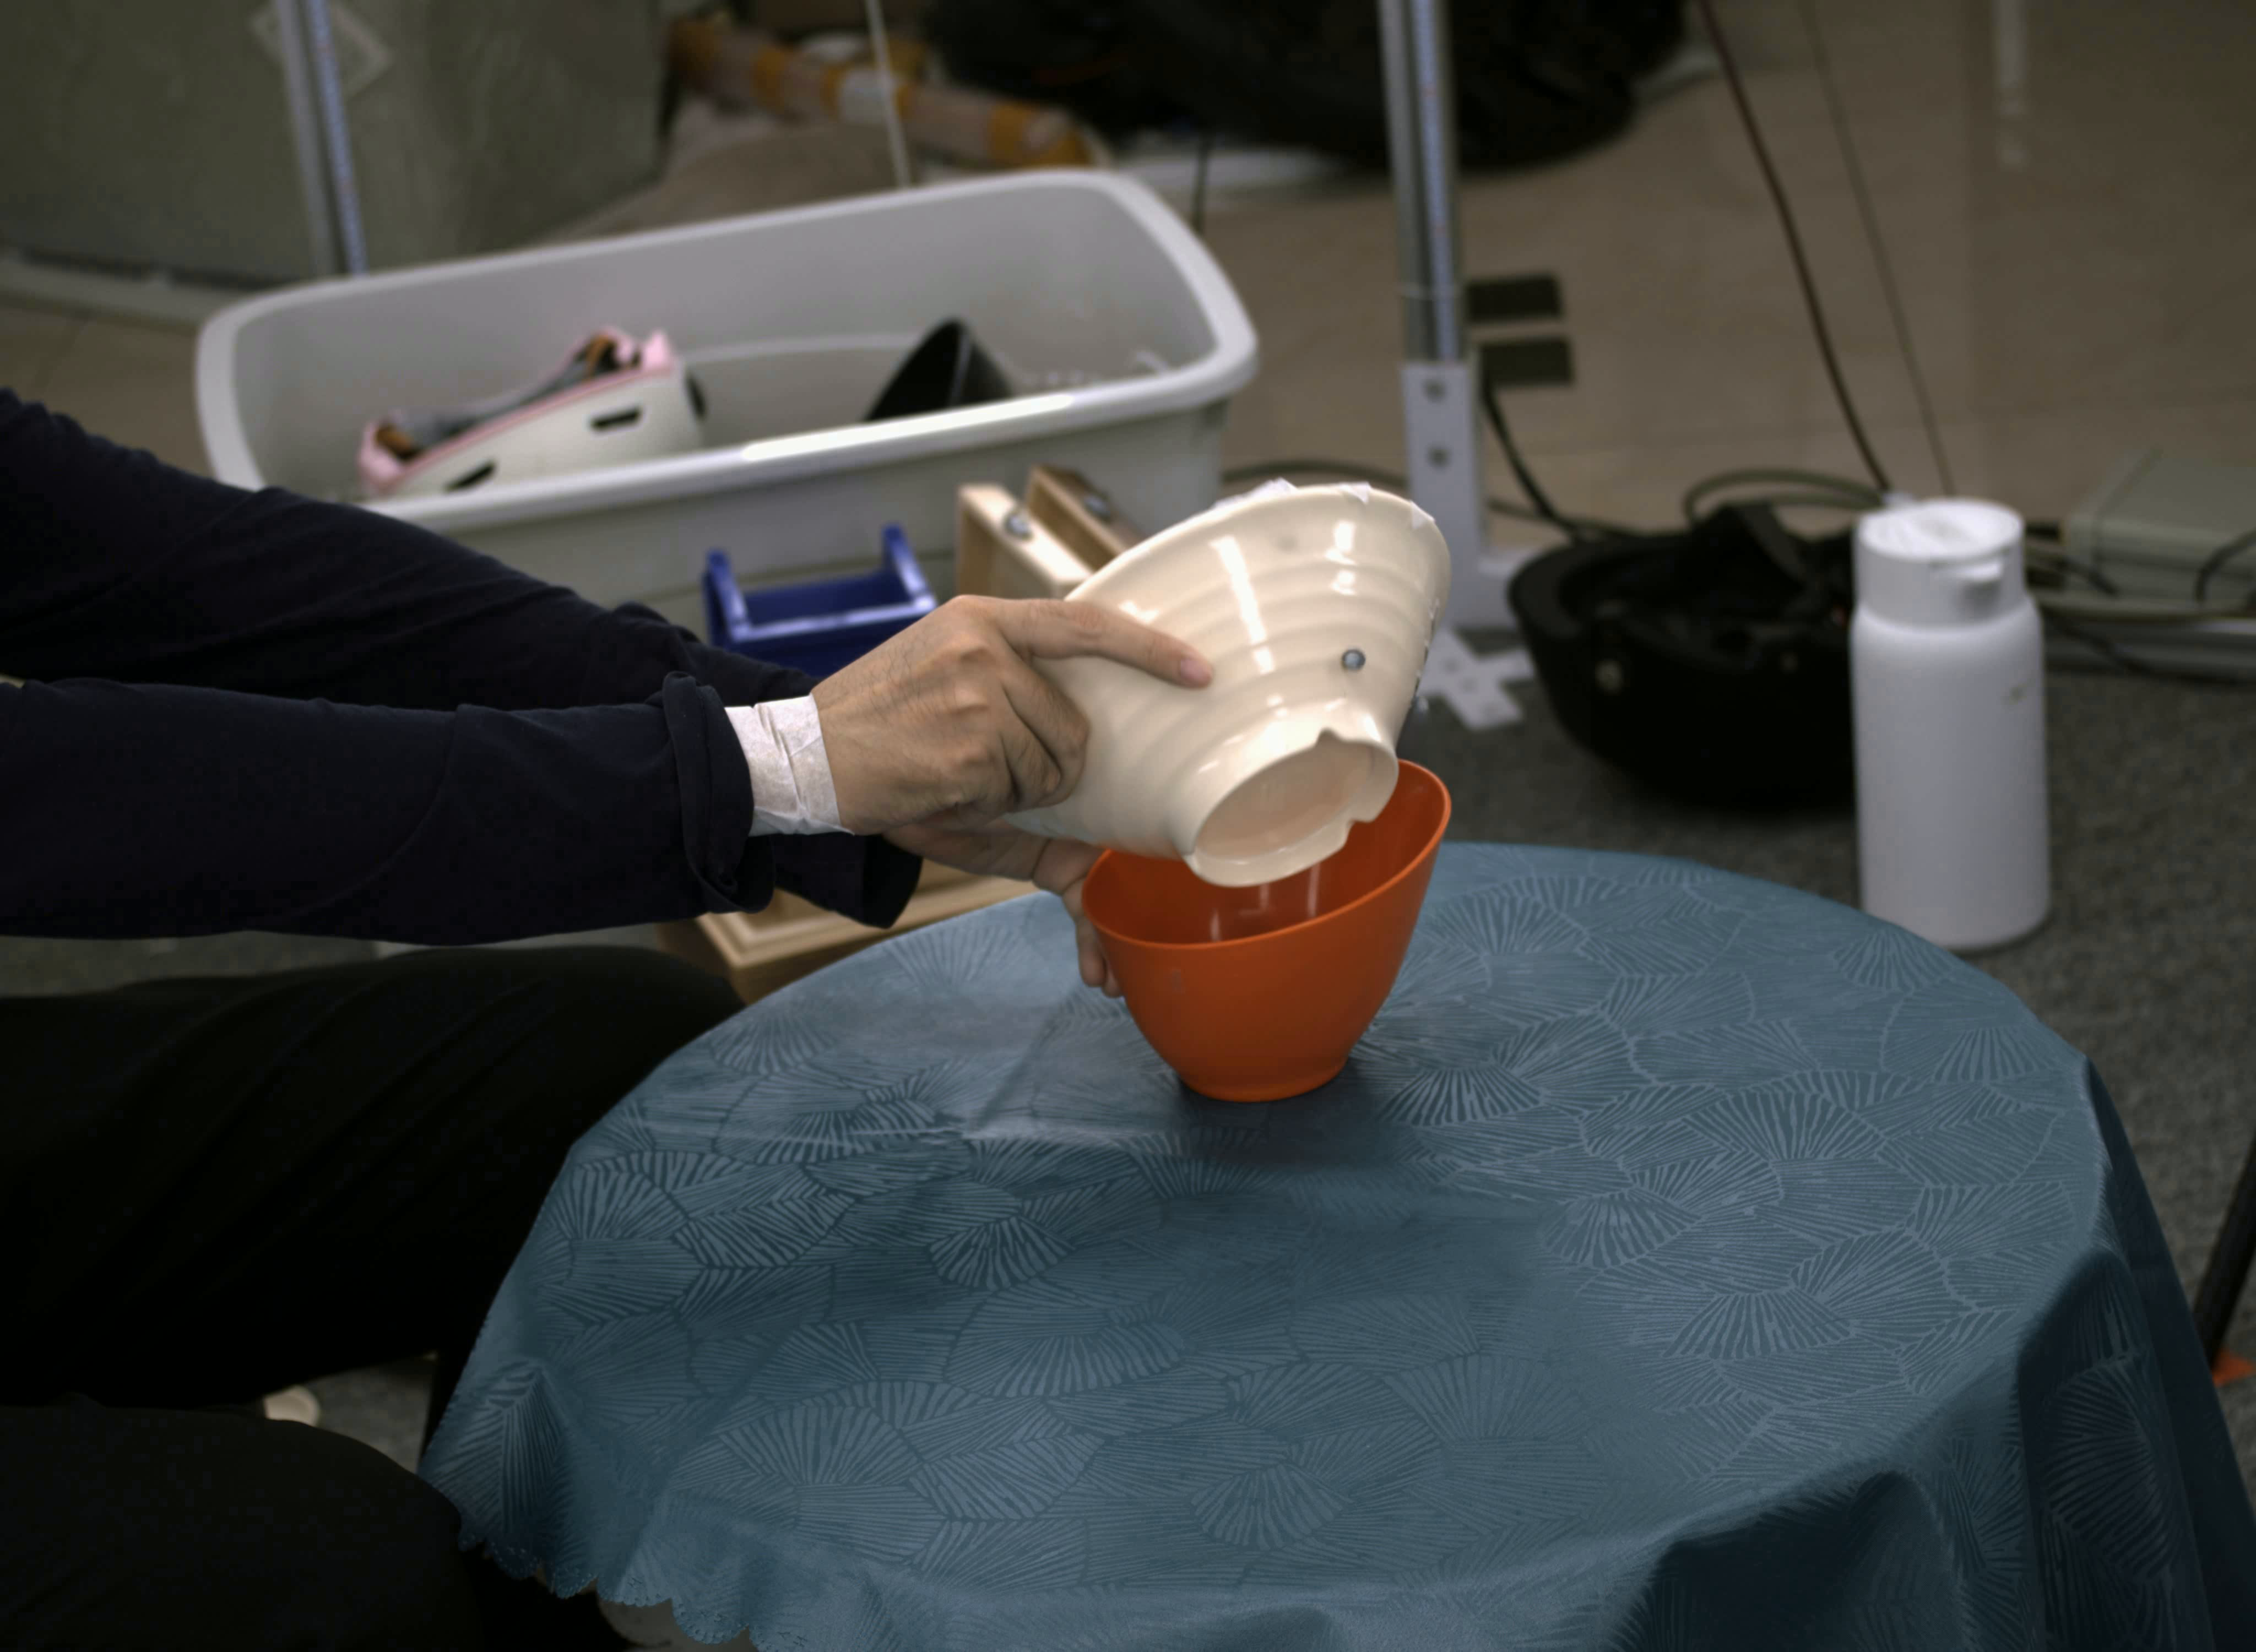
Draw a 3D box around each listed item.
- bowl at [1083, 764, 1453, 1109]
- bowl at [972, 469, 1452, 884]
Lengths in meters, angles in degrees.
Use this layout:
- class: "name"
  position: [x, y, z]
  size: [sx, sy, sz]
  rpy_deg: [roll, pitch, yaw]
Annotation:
- class: "bowl"
  position: [0.060, 0.048, 2.214]
  size: [0.148, 0.106, 0.146]
  rpy_deg: [-7, 25, 4]
- class: "bowl"
  position: [0.048, -0.036, 2.140]
  size: [0.203, 0.208, 0.077]
  rpy_deg: [-17, 56, -22]
